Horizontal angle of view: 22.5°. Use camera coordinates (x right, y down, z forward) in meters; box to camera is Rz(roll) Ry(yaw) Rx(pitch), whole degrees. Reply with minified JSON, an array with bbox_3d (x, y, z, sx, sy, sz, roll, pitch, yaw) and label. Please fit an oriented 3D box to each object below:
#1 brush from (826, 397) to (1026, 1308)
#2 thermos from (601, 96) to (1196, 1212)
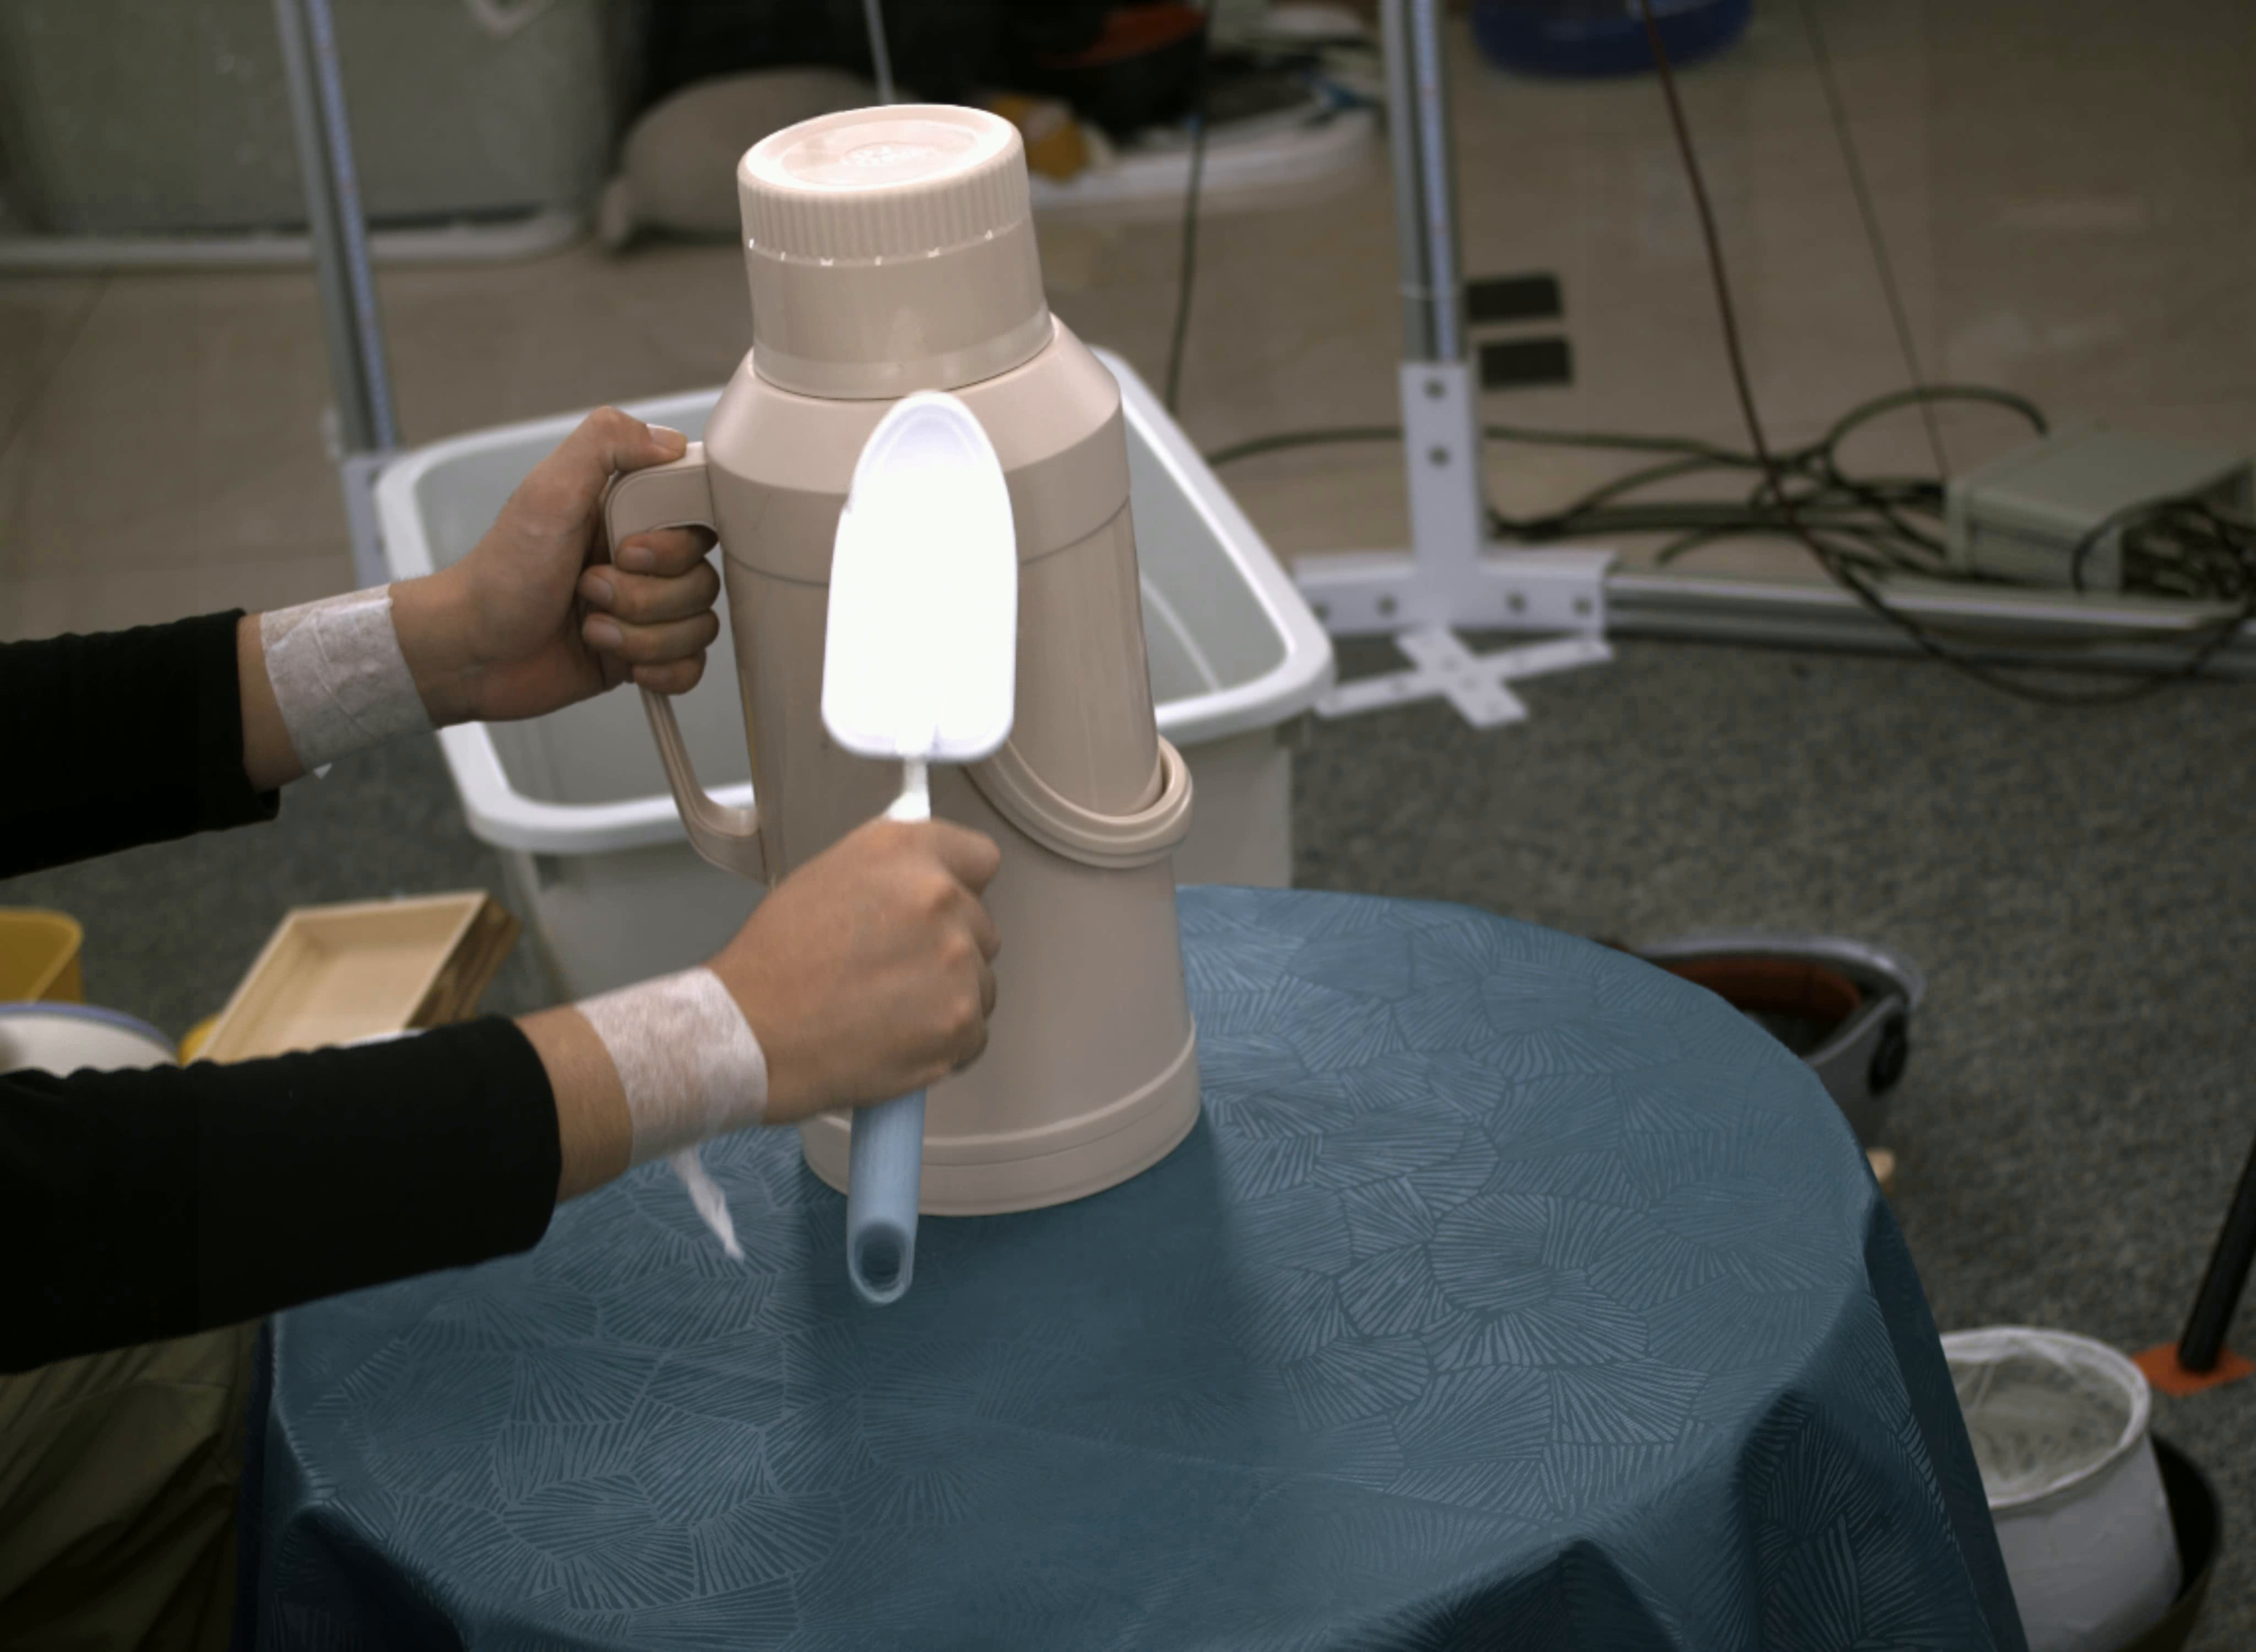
[{"bbox_3d":[-0.079,0.010,1.971,0.083,0.323,0.085,-7,-15,40],"label":"brush"},{"bbox_3d":[-0.085,-0.064,2.127,0.206,0.413,0.172,-7,27,-1],"label":"thermos"}]
